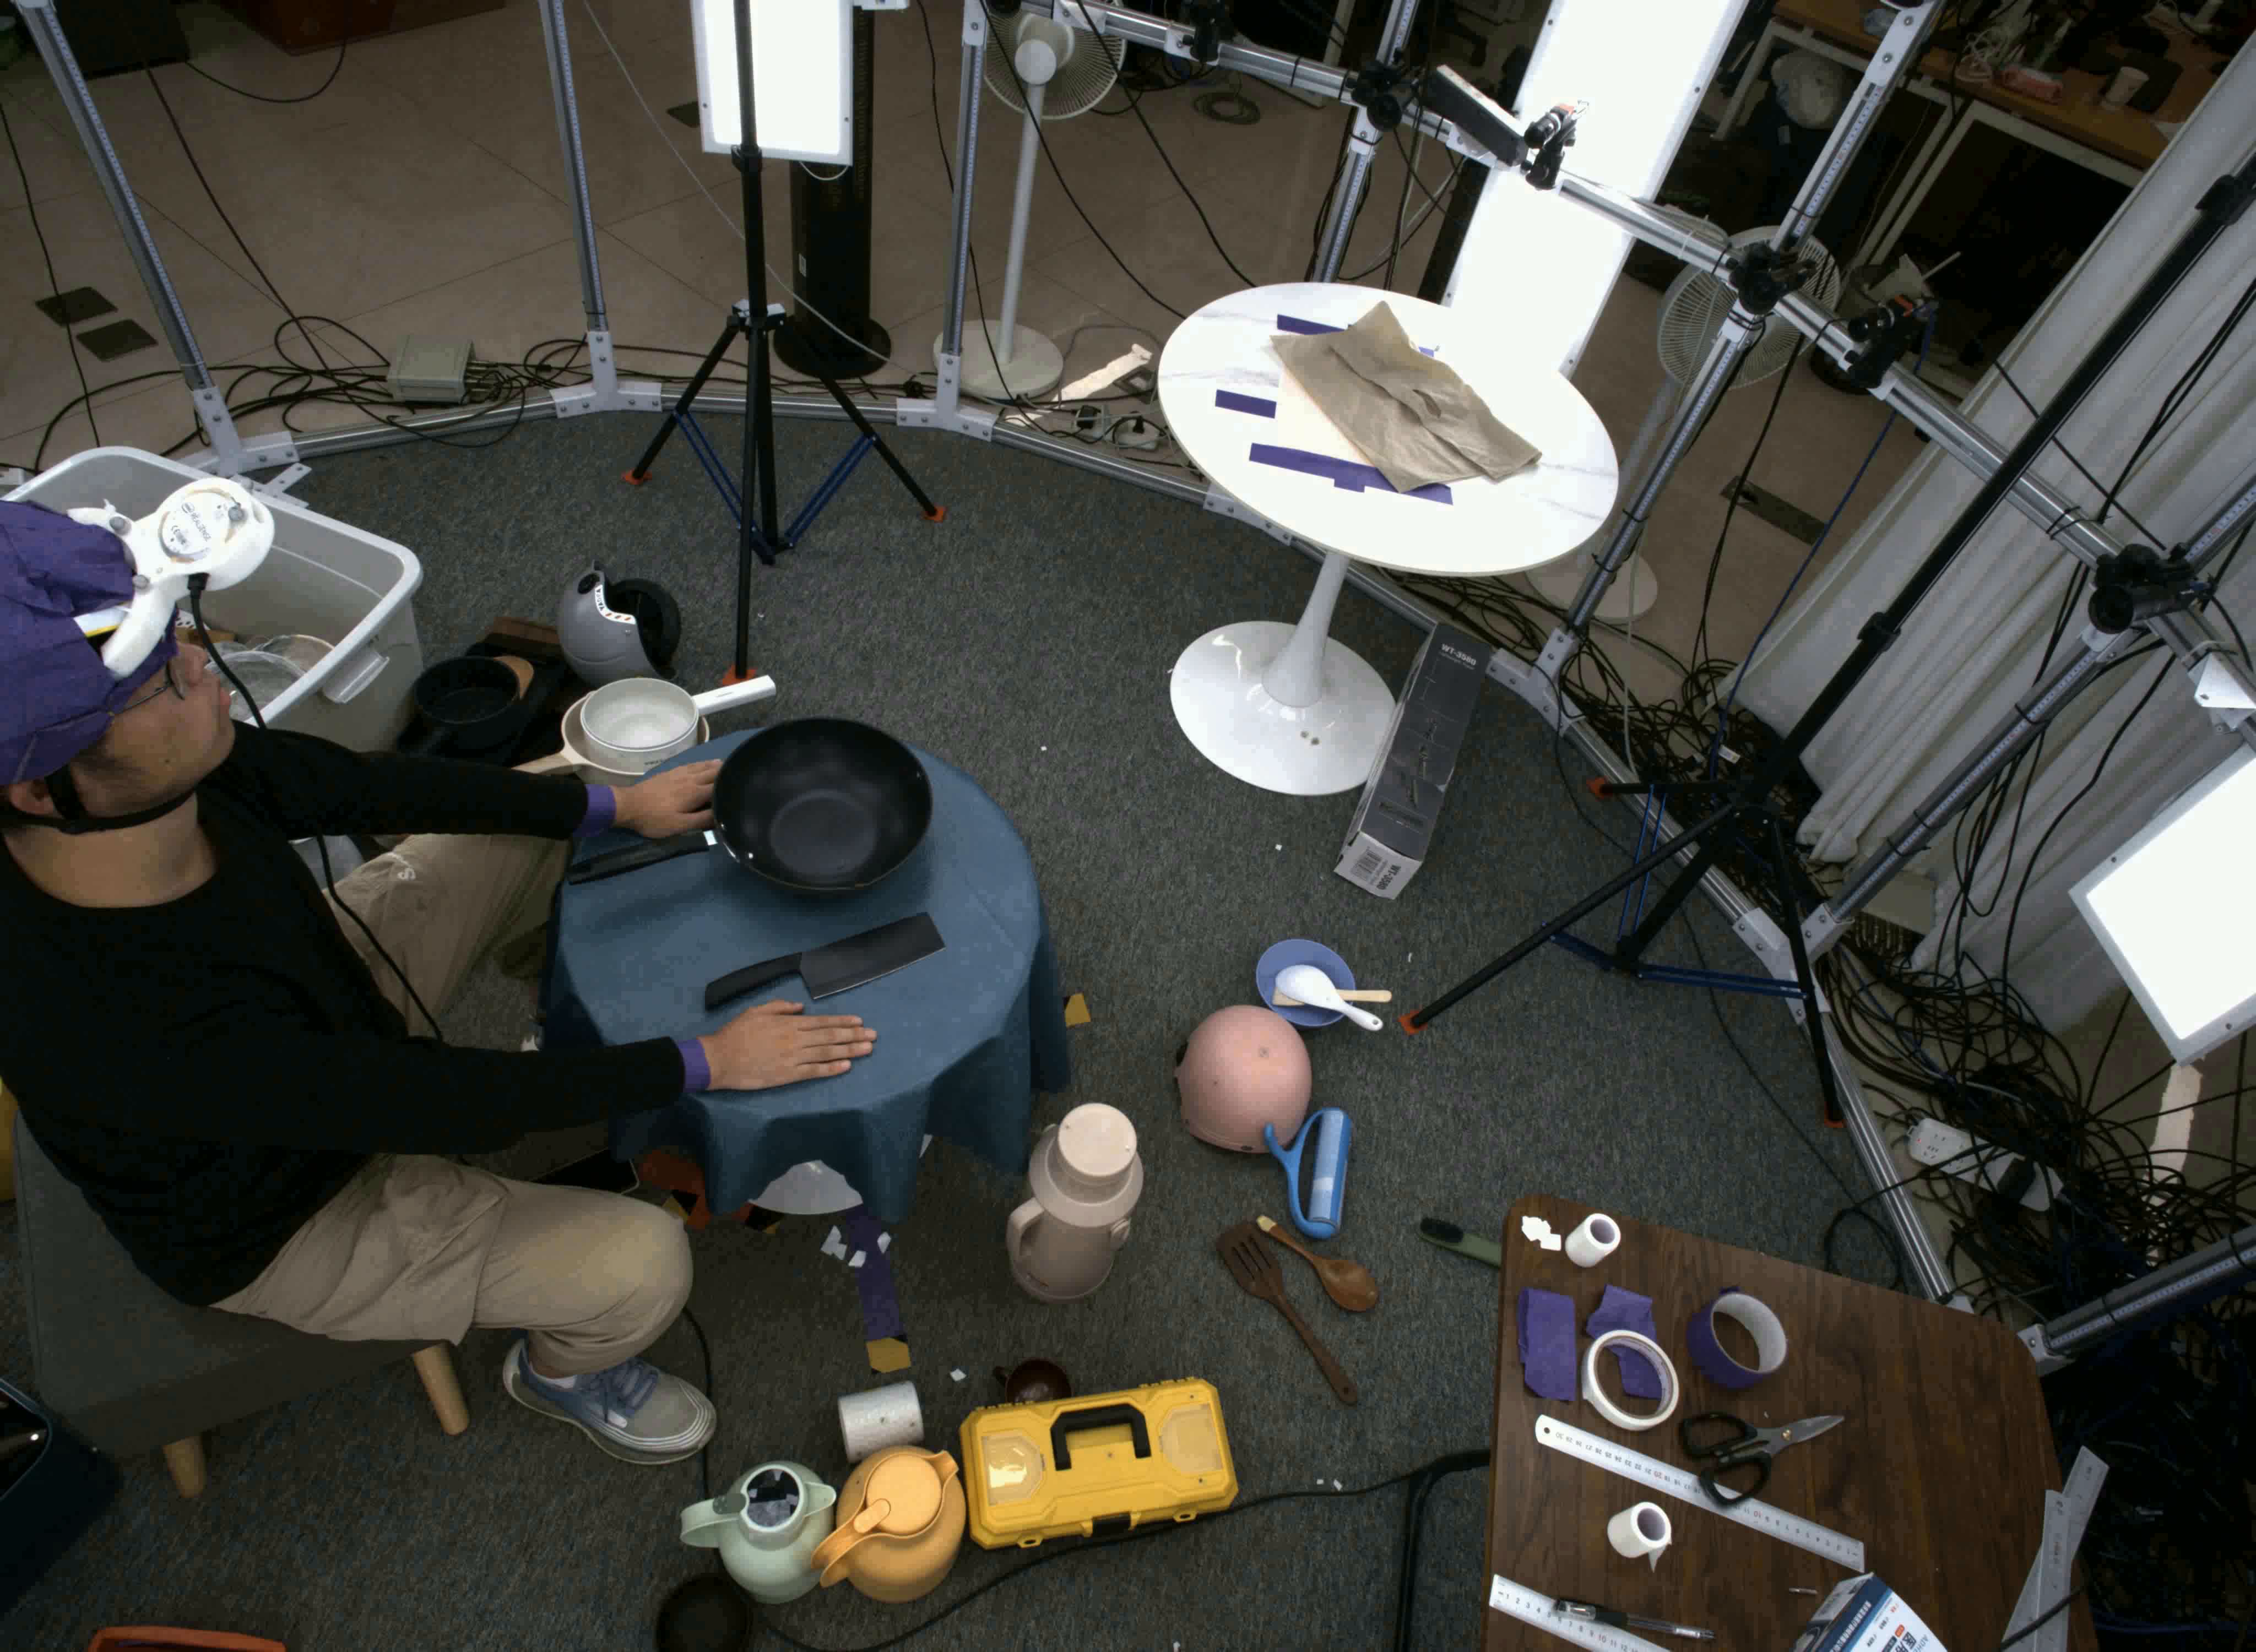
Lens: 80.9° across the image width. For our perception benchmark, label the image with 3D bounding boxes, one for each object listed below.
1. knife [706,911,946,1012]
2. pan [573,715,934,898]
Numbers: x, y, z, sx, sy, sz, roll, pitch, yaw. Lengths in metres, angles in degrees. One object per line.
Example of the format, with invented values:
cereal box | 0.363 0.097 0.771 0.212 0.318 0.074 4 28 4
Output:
knife | -0.371 0.170 1.599 0.304 0.021 0.079 -15 59 -26
pan | -0.472 0.013 1.646 0.465 0.088 0.281 -19 60 -25
